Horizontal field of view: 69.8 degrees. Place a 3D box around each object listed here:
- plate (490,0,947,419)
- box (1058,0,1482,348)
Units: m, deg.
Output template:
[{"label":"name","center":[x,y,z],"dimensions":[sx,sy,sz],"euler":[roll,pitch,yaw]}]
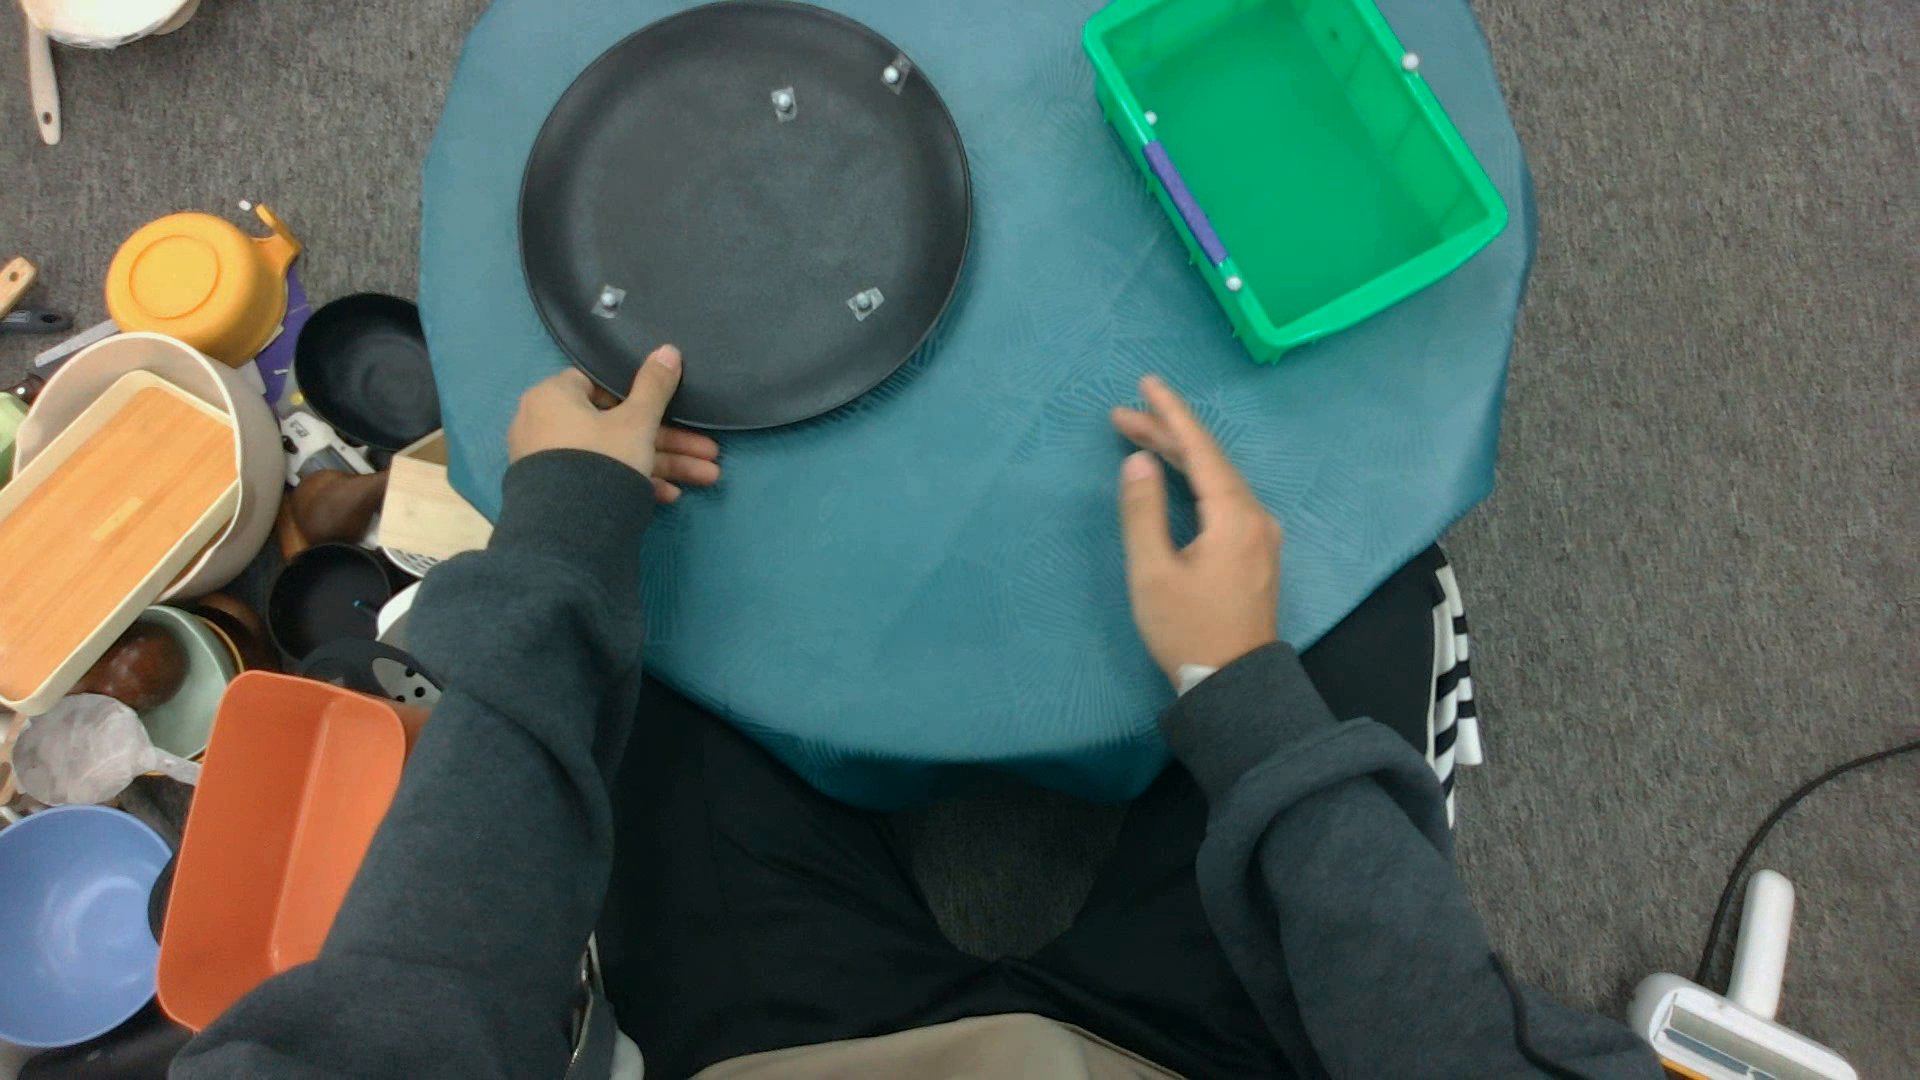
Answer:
[{"label":"plate","center":[-0.128,-0.180,0.740],"dimensions":[0.244,0.023,0.245],"euler":[0,80,1]},{"label":"box","center":[0.155,-0.210,0.718],"dimensions":[0.139,0.065,0.210],"euler":[-30,83,-2]}]
